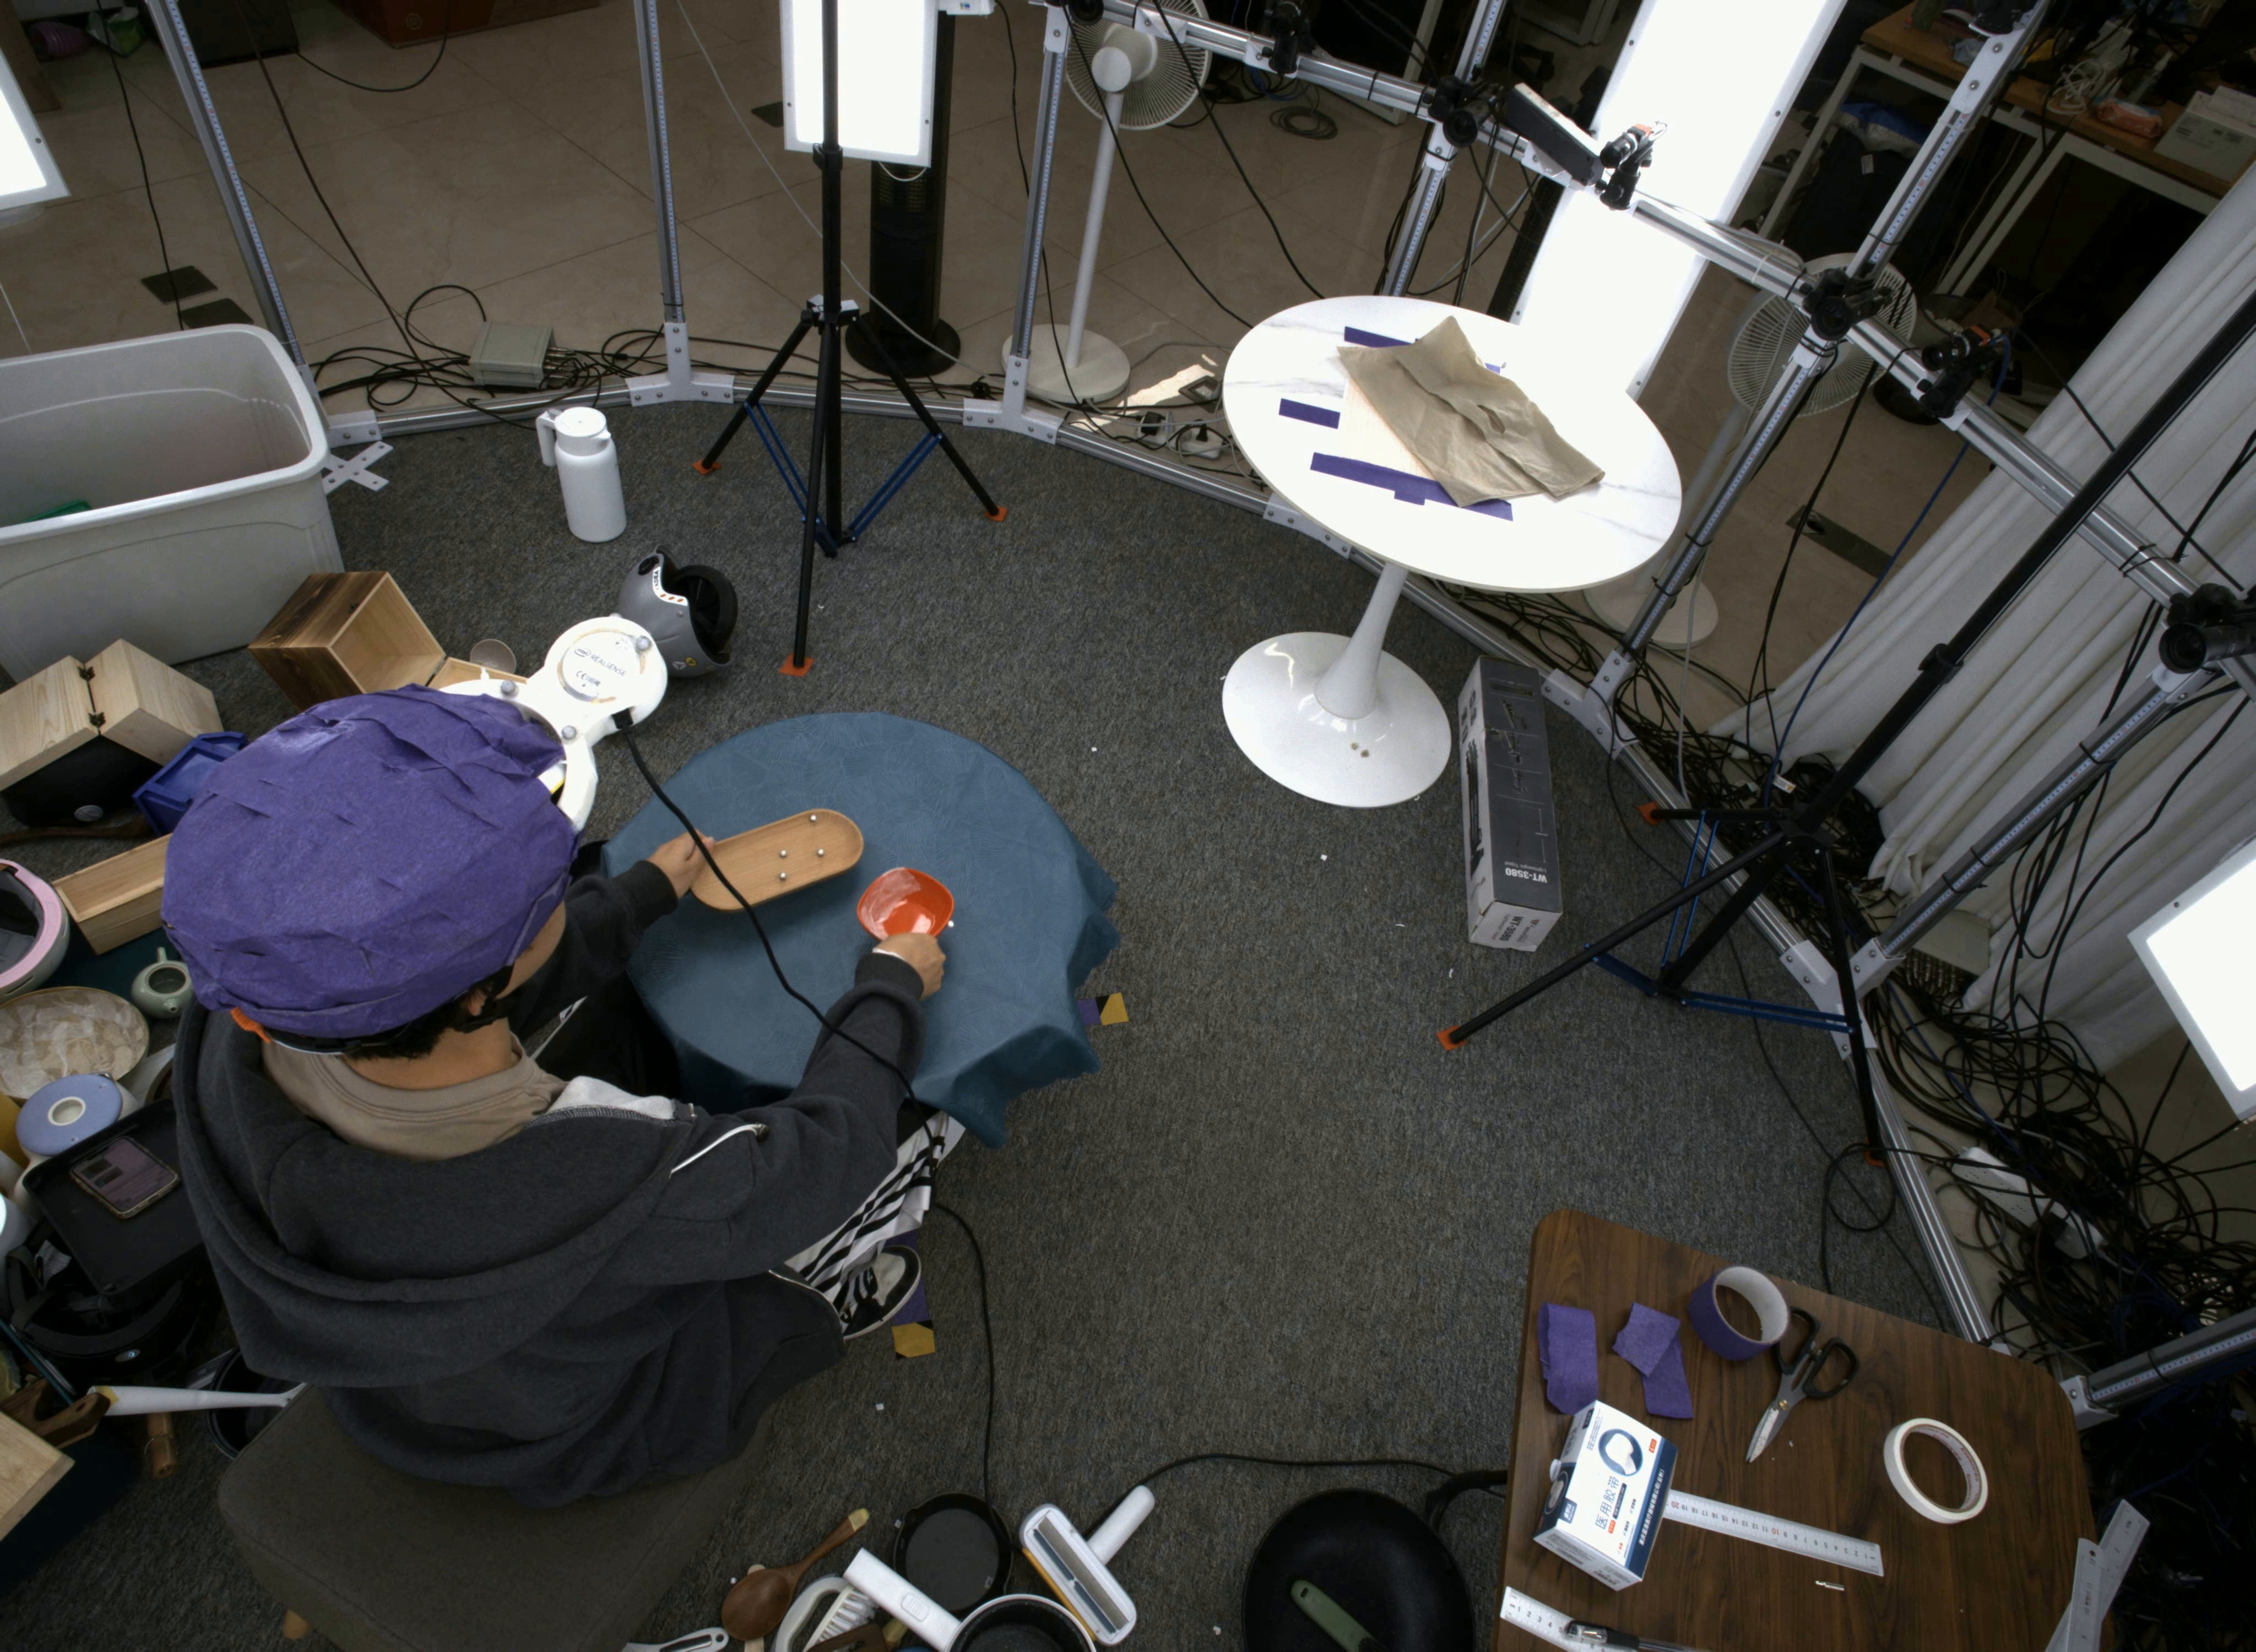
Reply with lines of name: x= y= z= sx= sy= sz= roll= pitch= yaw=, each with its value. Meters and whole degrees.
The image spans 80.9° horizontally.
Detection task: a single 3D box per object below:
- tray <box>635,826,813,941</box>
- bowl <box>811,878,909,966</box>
tray: x=-0.496 y=0.067 z=1.592 sx=0.232 sy=0.020 sz=0.100 roll=-28 pitch=69 yaw=-36
bowl: x=-0.329 y=0.125 z=1.598 sx=0.118 sy=0.052 sz=0.117 roll=6 pitch=53 yaw=-7
